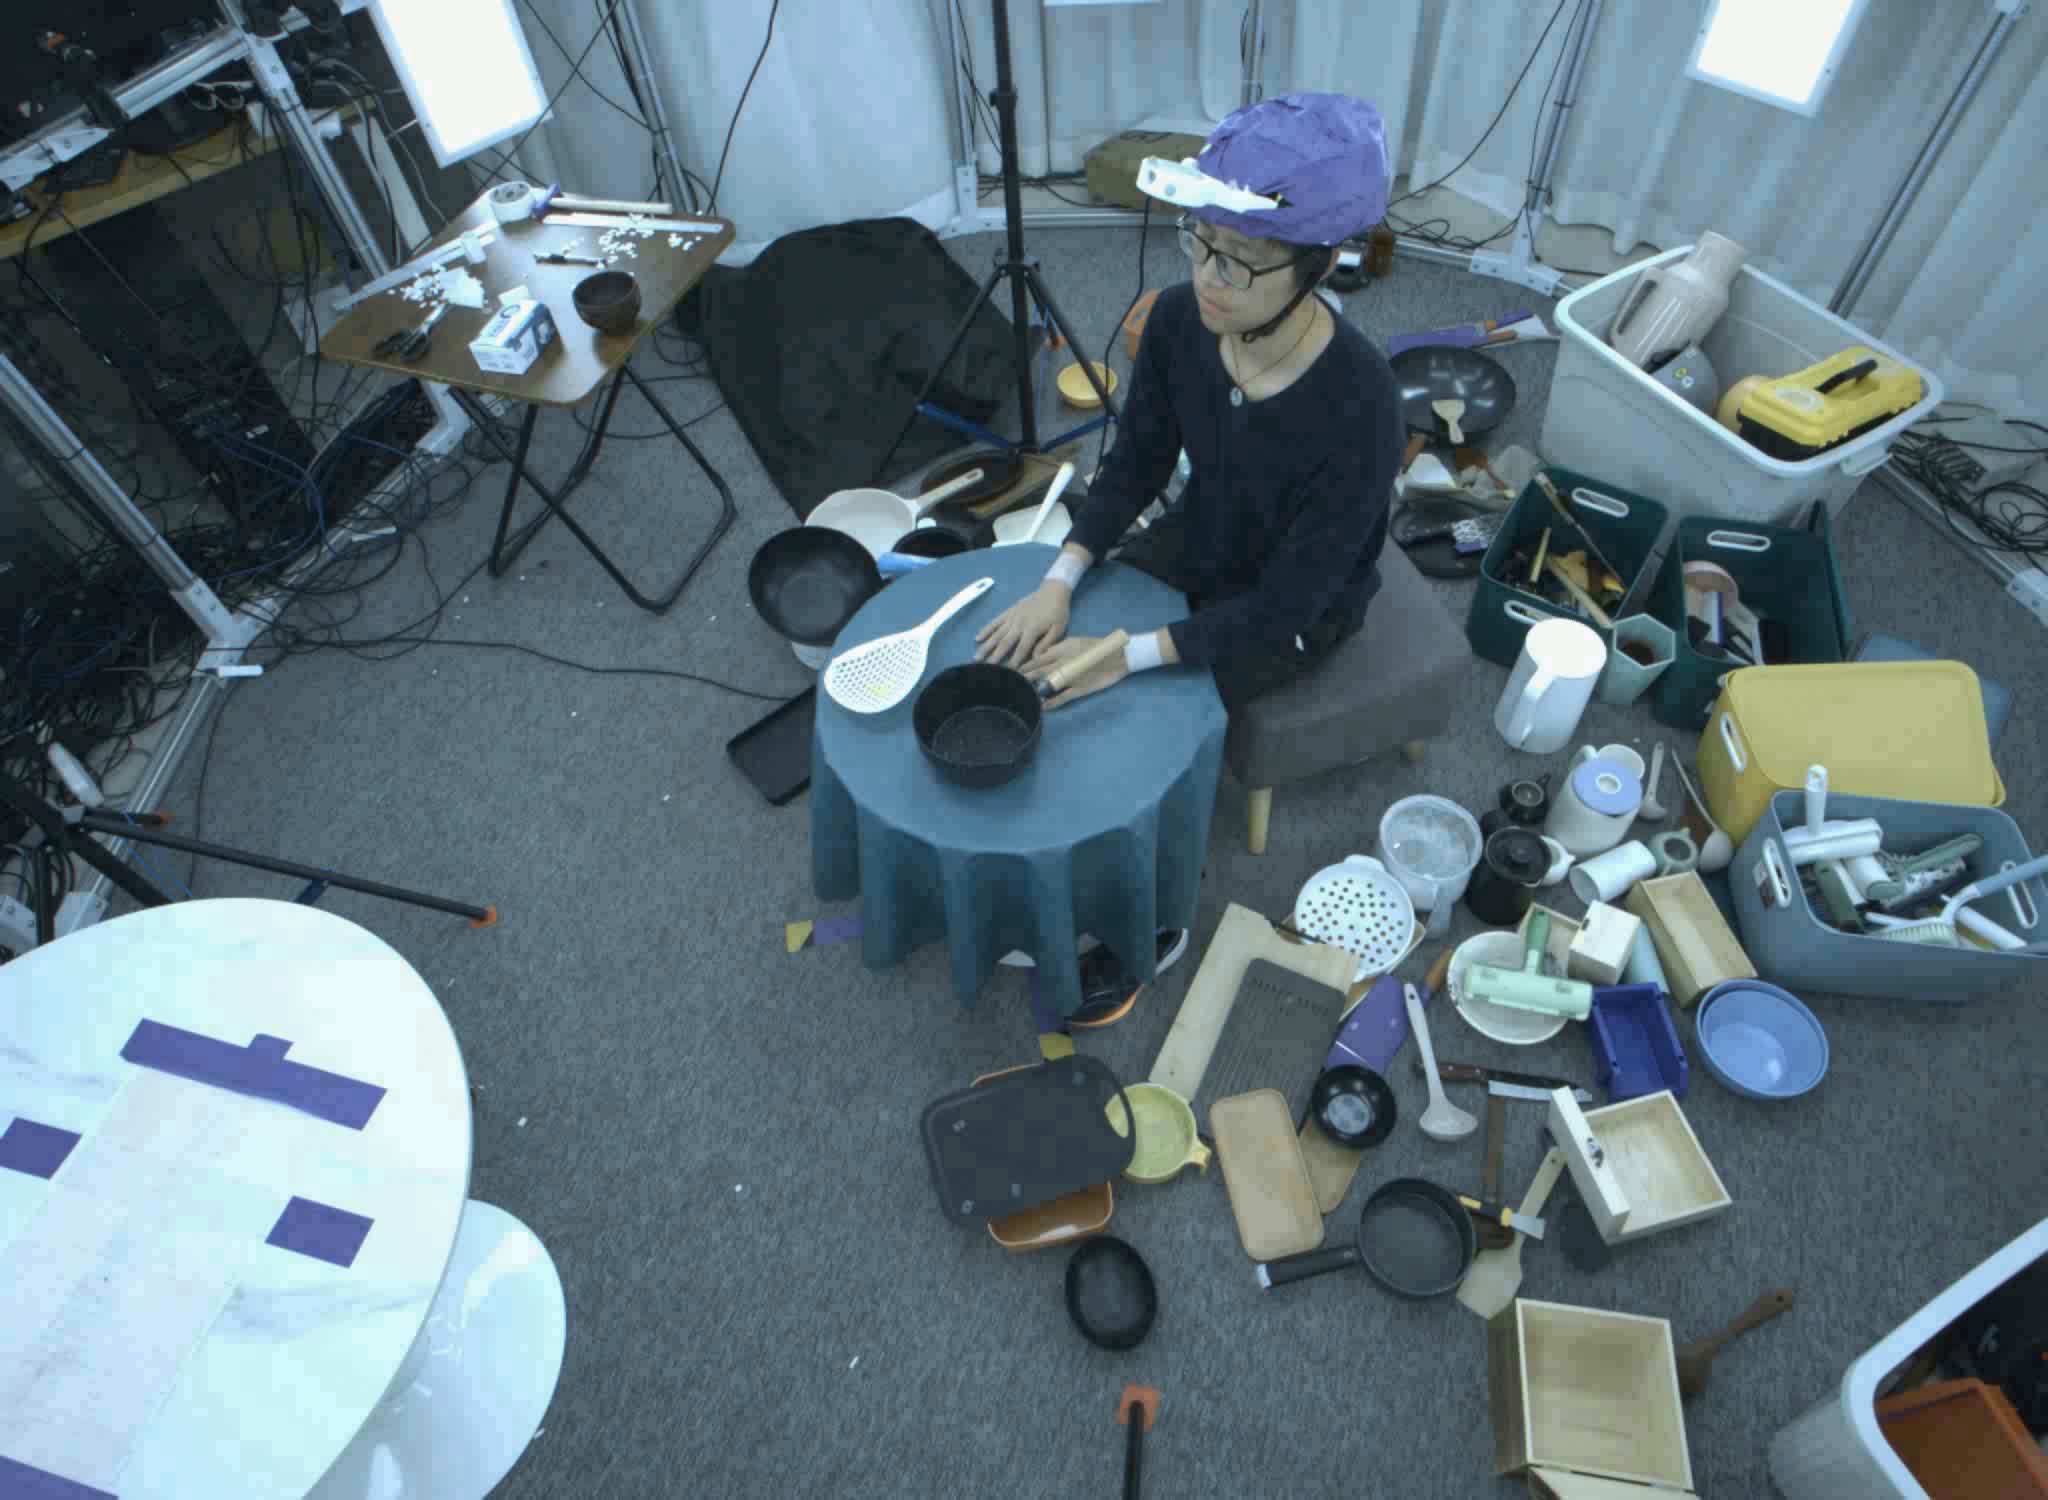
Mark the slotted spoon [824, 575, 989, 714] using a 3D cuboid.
[{"bbox_3d":[-0.162,-0.173,1.889,0.134,0.051,0.349,30,63,23],"label":"slotted spoon"}]

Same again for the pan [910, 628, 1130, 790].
[{"bbox_3d":[0.003,-0.070,1.770,0.345,0.109,0.203,-28,57,-15],"label":"pan"}]
